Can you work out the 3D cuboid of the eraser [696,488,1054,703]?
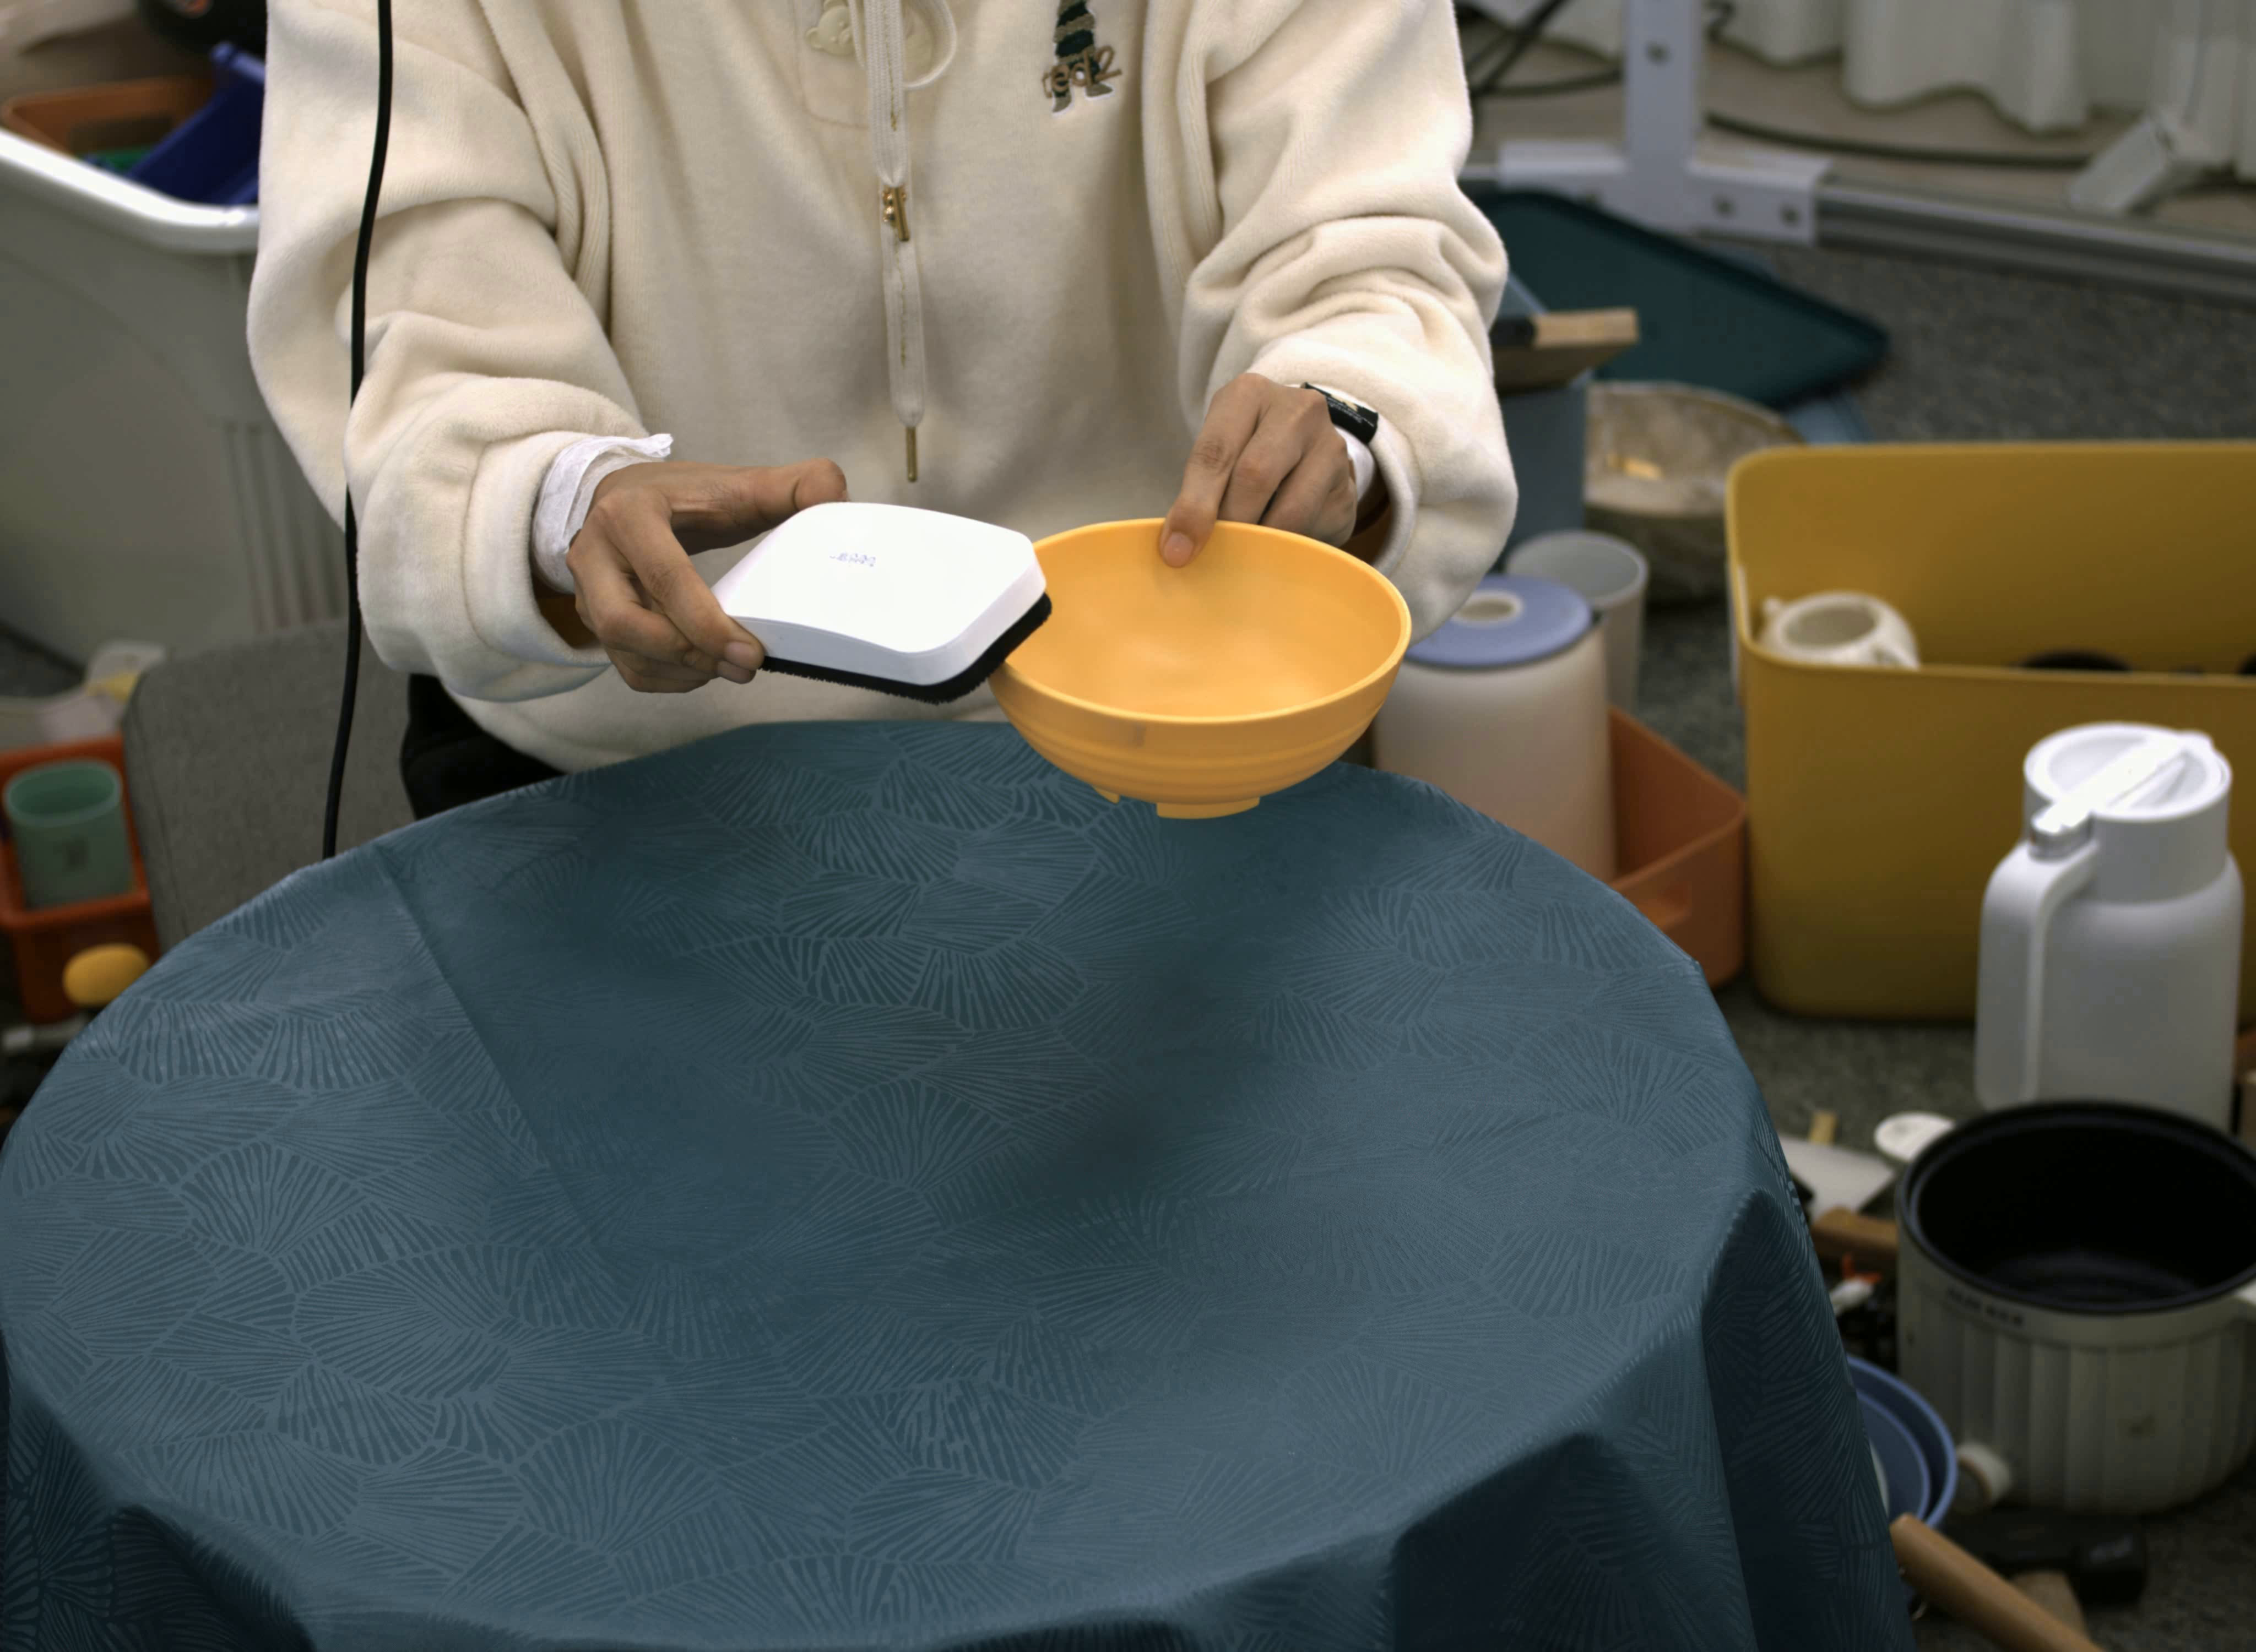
[{"bbox_3d":[-0.082,-0.075,1.825,0.130,0.034,0.064,12,48,48],"label":"eraser"}]

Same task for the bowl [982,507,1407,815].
[{"bbox_3d":[0.019,-0.045,1.842,0.144,0.059,0.148,2,30,-1],"label":"bowl"}]
